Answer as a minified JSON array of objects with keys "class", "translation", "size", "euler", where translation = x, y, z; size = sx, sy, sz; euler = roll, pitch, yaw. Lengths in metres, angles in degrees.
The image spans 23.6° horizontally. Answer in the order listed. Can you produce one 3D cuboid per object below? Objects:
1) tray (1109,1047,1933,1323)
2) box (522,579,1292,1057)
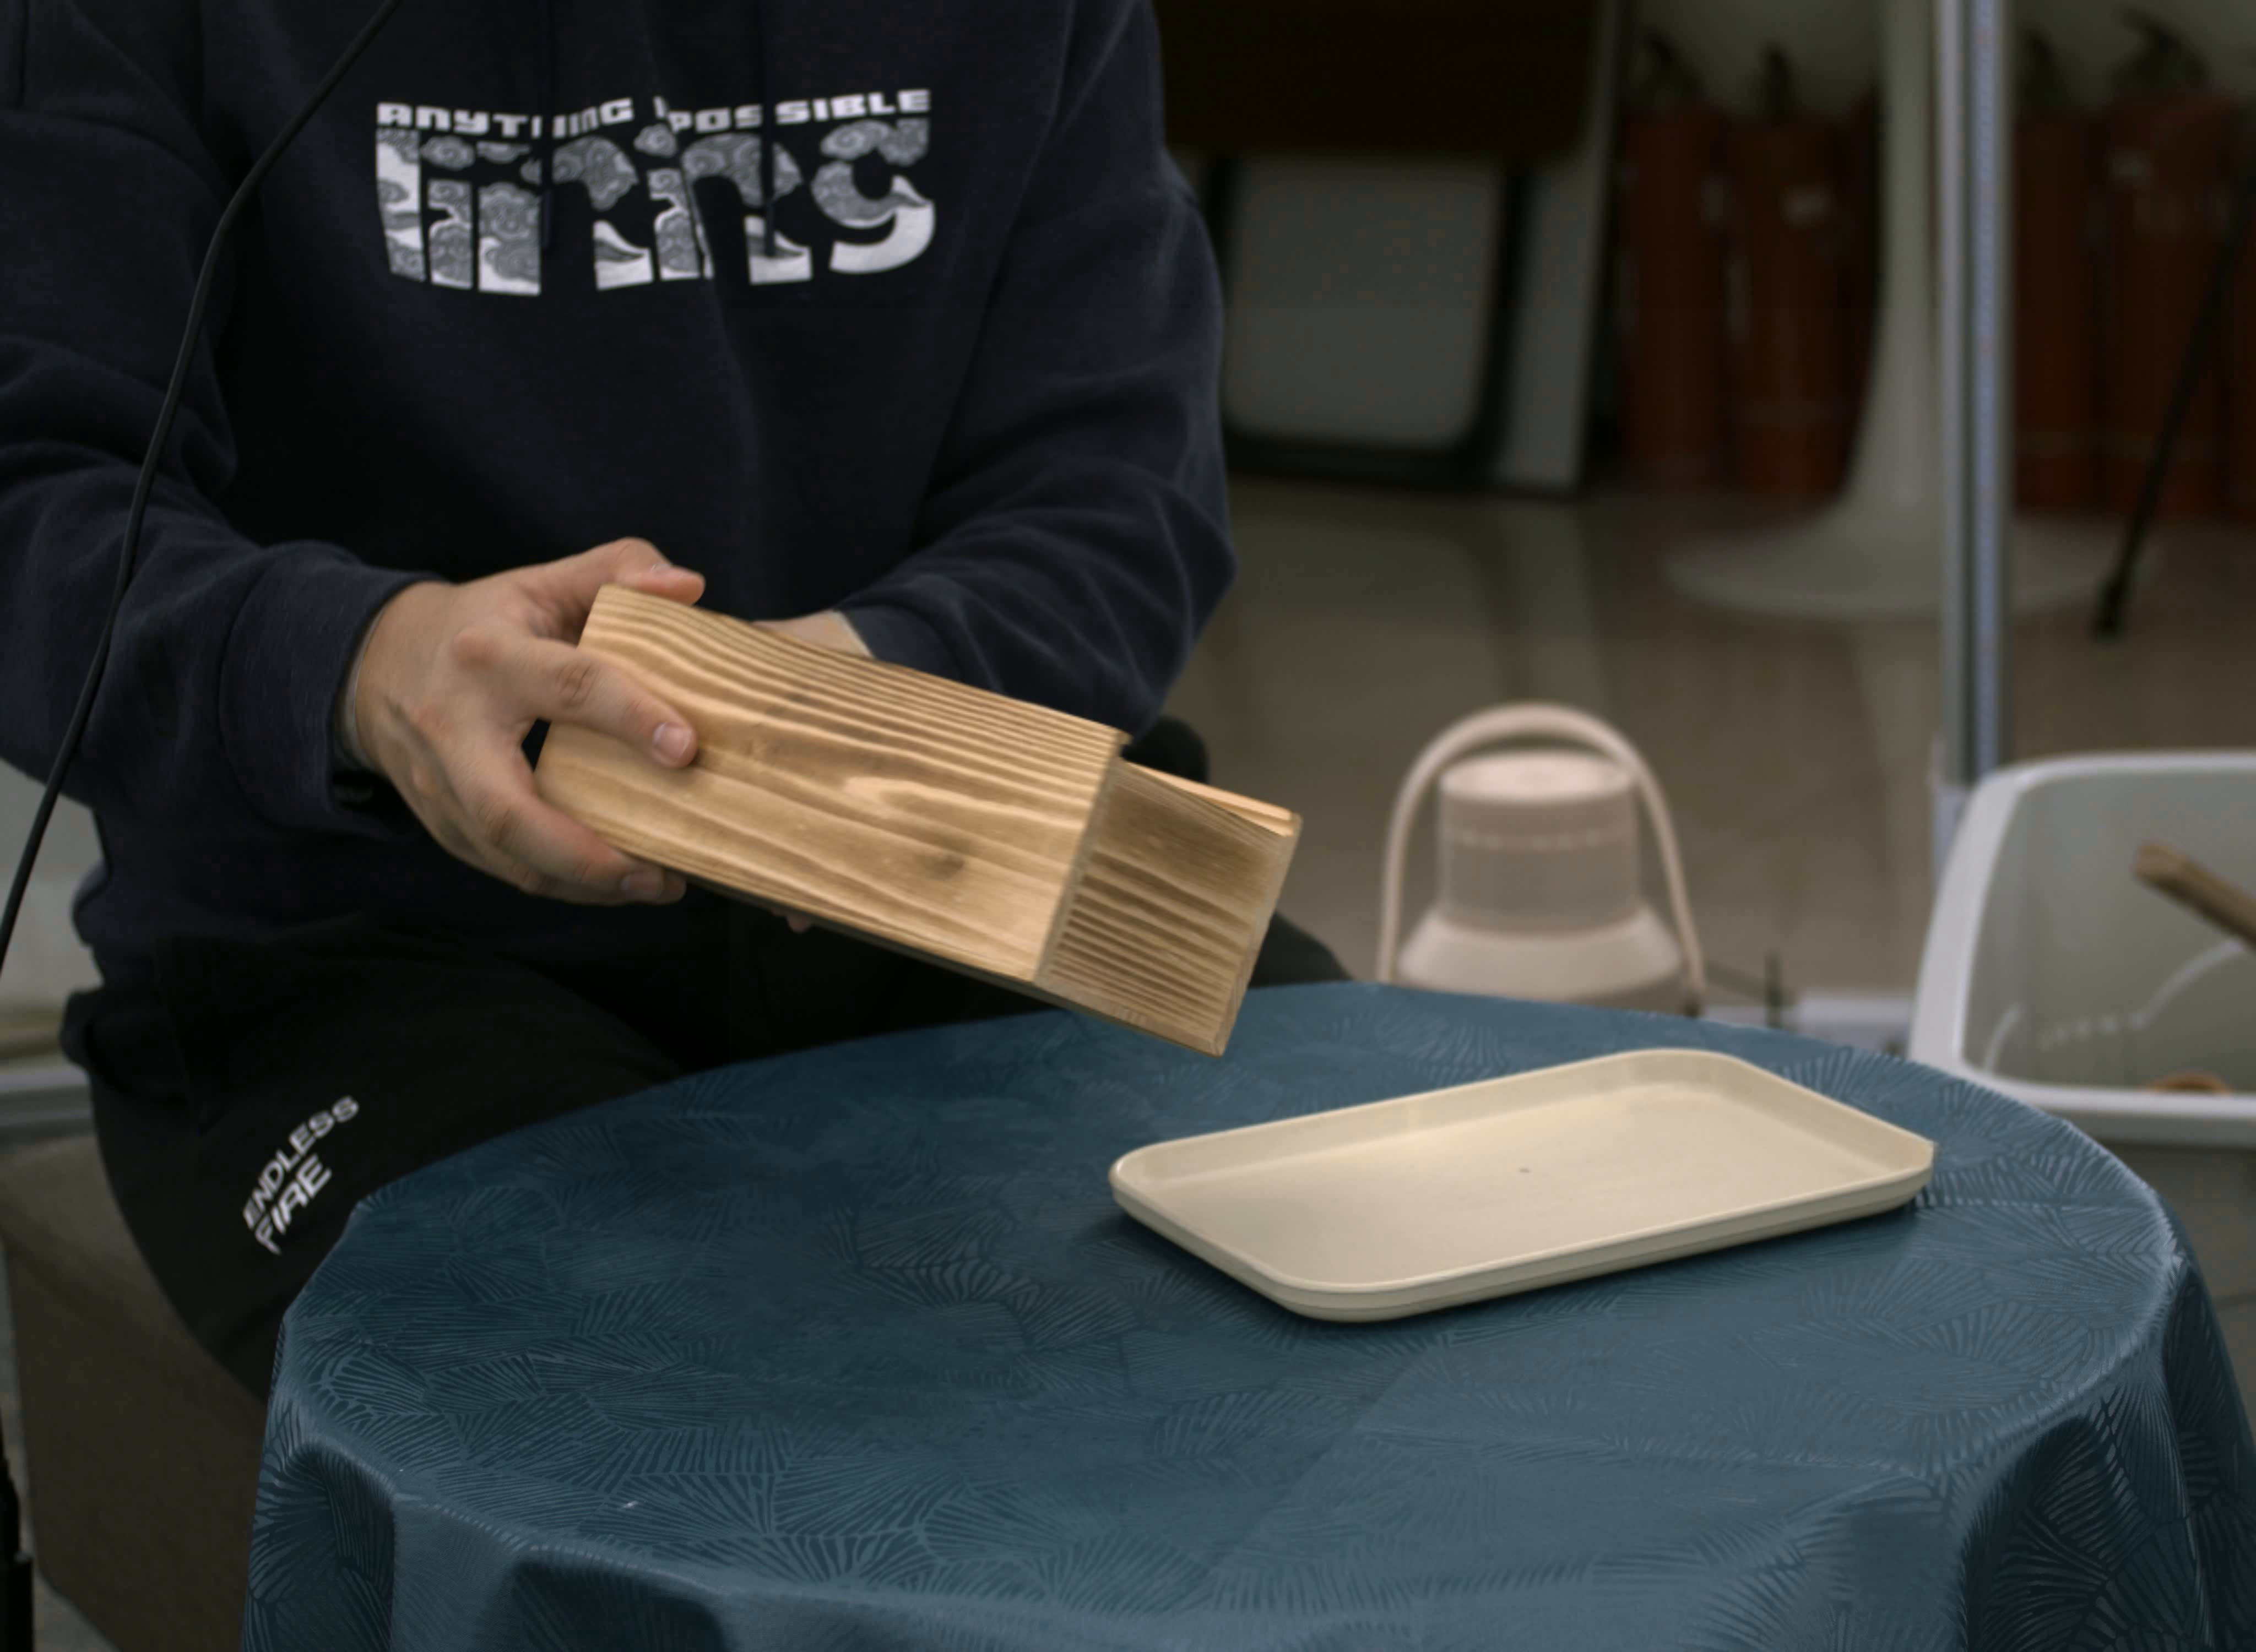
[{"class":"tray","translation":[0.126,0.115,1.729],"size":[0.234,0.017,0.173],"euler":[-10,15,-24]},{"class":"box","translation":[-0.069,-0.003,1.655],"size":[0.213,0.081,0.105],"euler":[16,-5,38]}]
